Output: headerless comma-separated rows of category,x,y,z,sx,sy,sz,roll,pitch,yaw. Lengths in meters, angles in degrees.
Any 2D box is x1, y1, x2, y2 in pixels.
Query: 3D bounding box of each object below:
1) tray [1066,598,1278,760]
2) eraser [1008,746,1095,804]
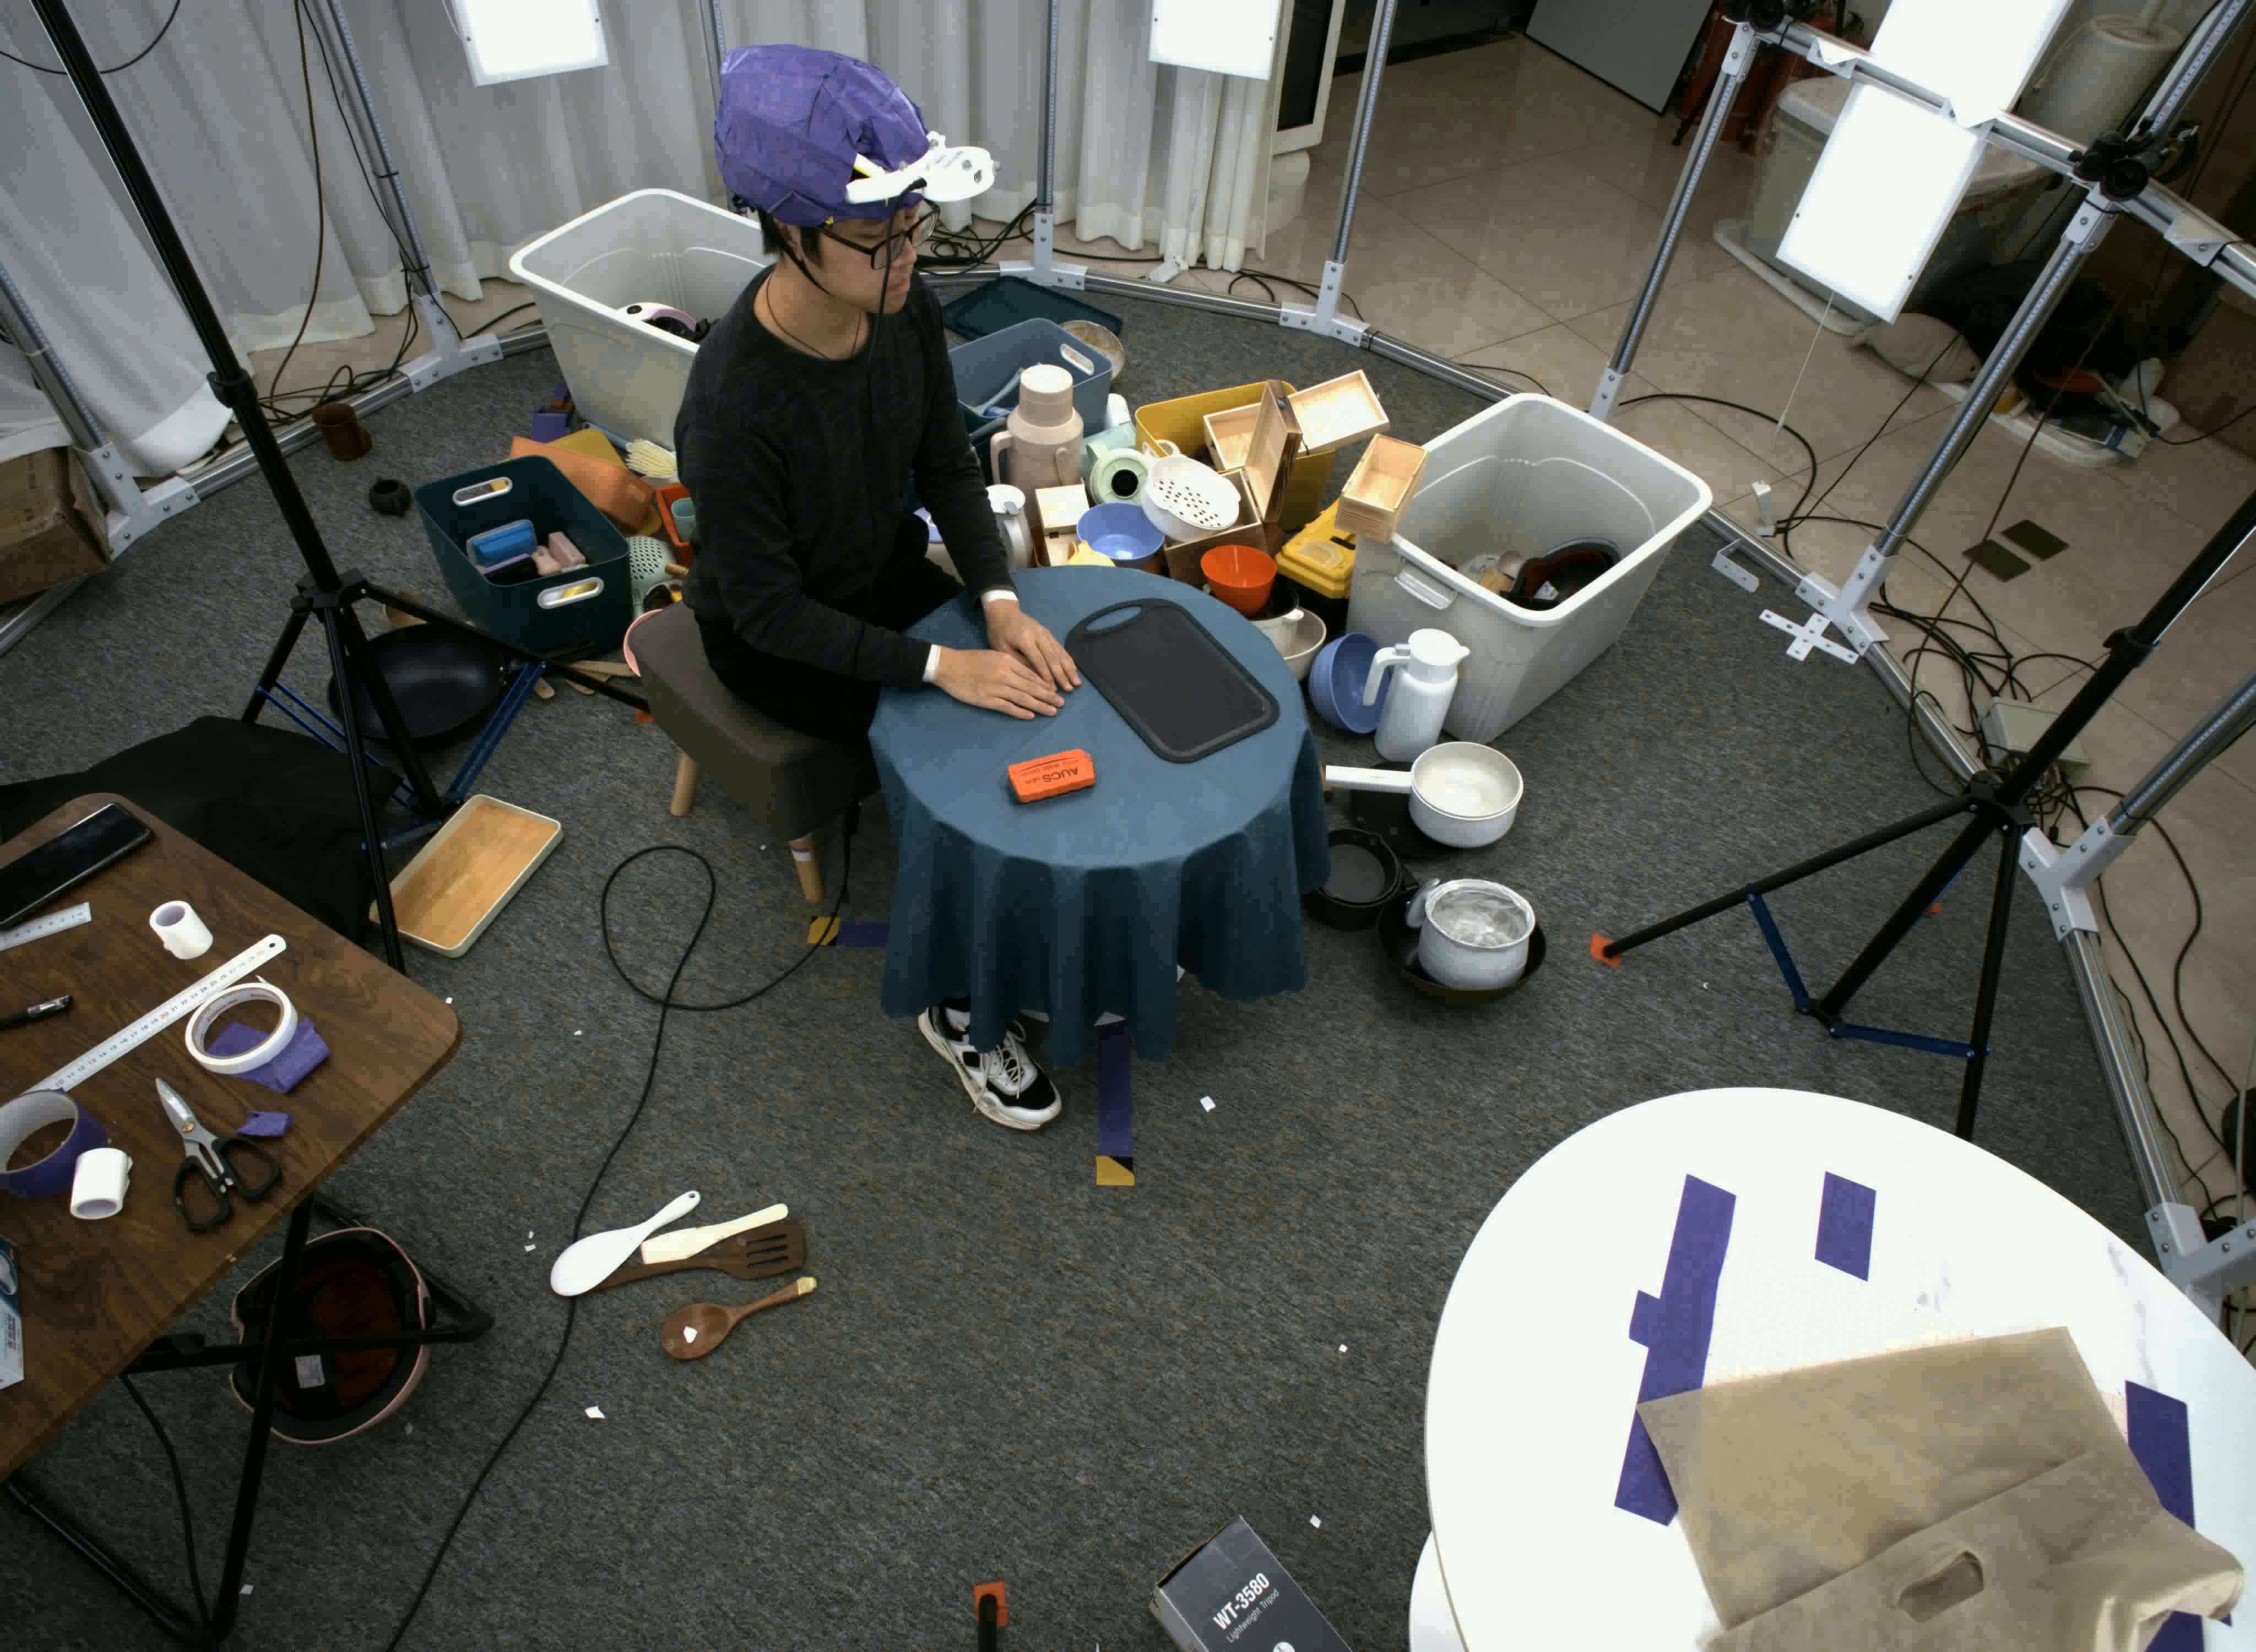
tray,0.056,-0.225,1.864,0.212,0.009,0.332,-24,55,-23
eraser,-0.102,-0.068,1.702,0.108,0.022,0.060,-17,51,-15
